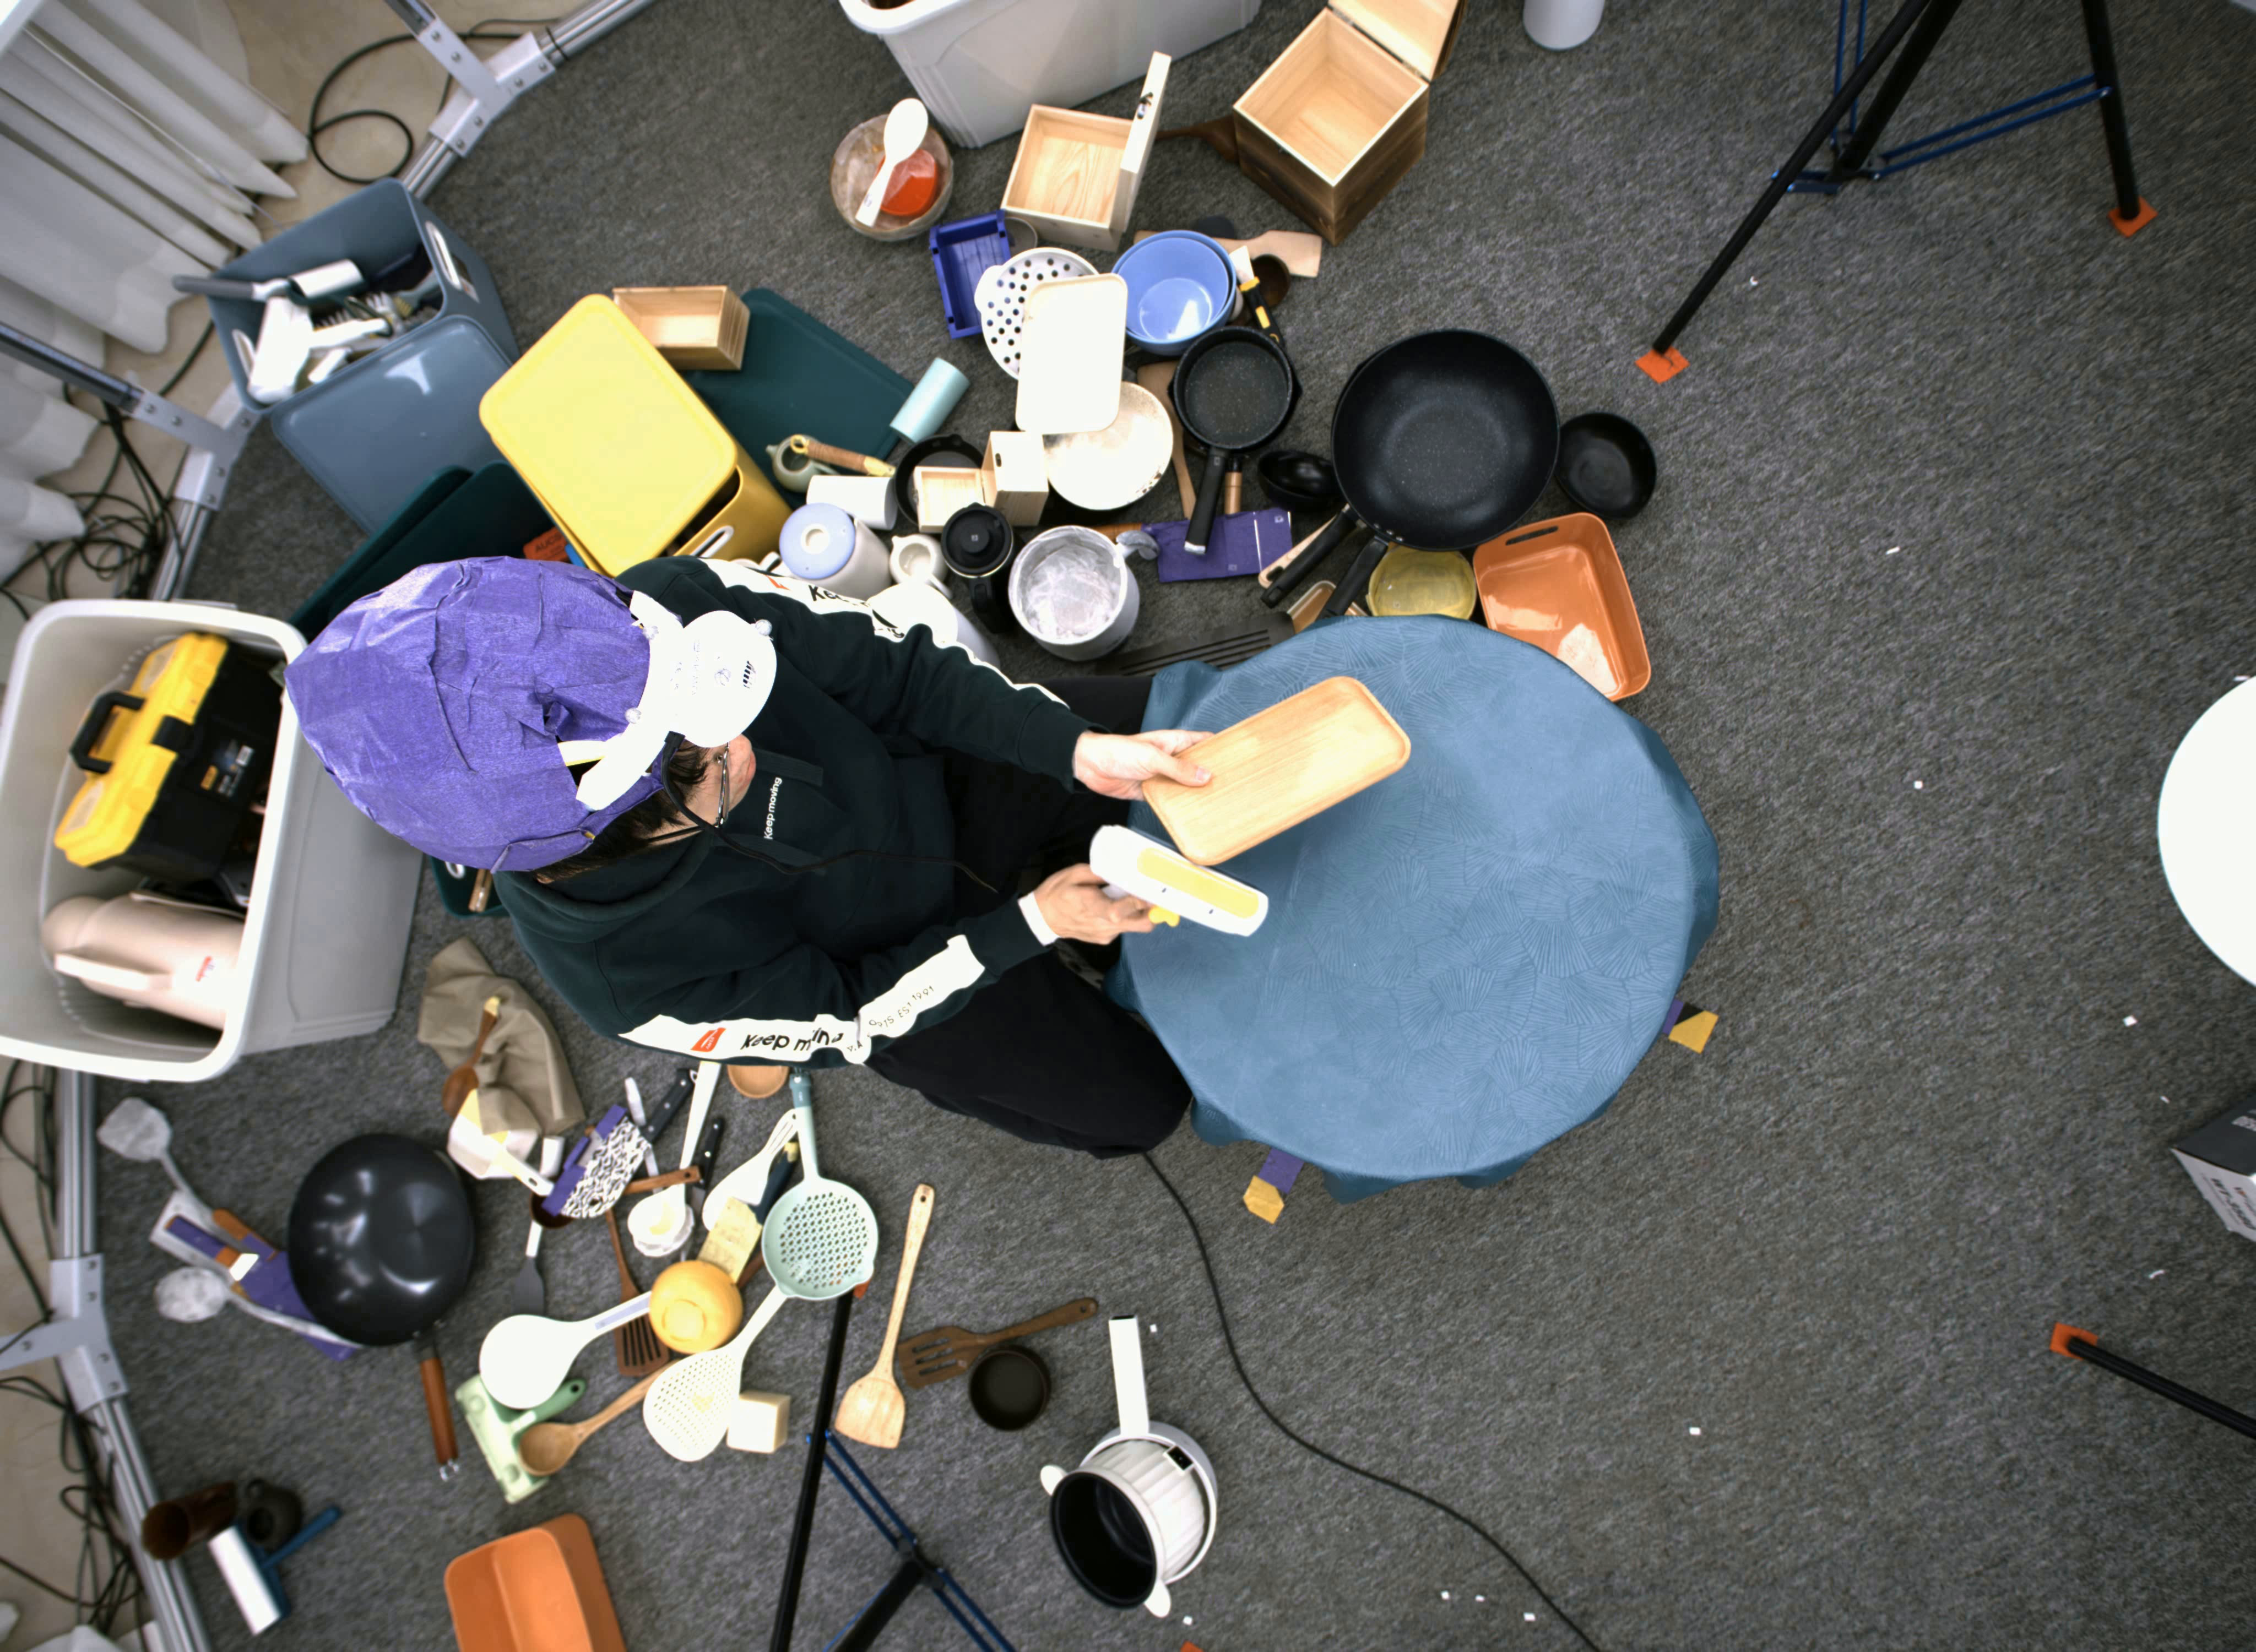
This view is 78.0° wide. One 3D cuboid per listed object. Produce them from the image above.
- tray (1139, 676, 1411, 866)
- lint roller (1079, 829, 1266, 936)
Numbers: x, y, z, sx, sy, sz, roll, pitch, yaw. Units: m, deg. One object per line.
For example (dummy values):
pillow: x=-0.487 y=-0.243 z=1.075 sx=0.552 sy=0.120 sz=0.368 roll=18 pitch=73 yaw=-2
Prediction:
tray: x=0.140 y=-0.055 z=1.319 sx=0.249 sy=0.023 sz=0.128 roll=-26 pitch=58 yaw=-8
lint roller: x=0.015 y=0.061 z=1.359 sx=0.193 sy=0.193 sz=0.073 roll=17 pitch=81 yaw=-27
